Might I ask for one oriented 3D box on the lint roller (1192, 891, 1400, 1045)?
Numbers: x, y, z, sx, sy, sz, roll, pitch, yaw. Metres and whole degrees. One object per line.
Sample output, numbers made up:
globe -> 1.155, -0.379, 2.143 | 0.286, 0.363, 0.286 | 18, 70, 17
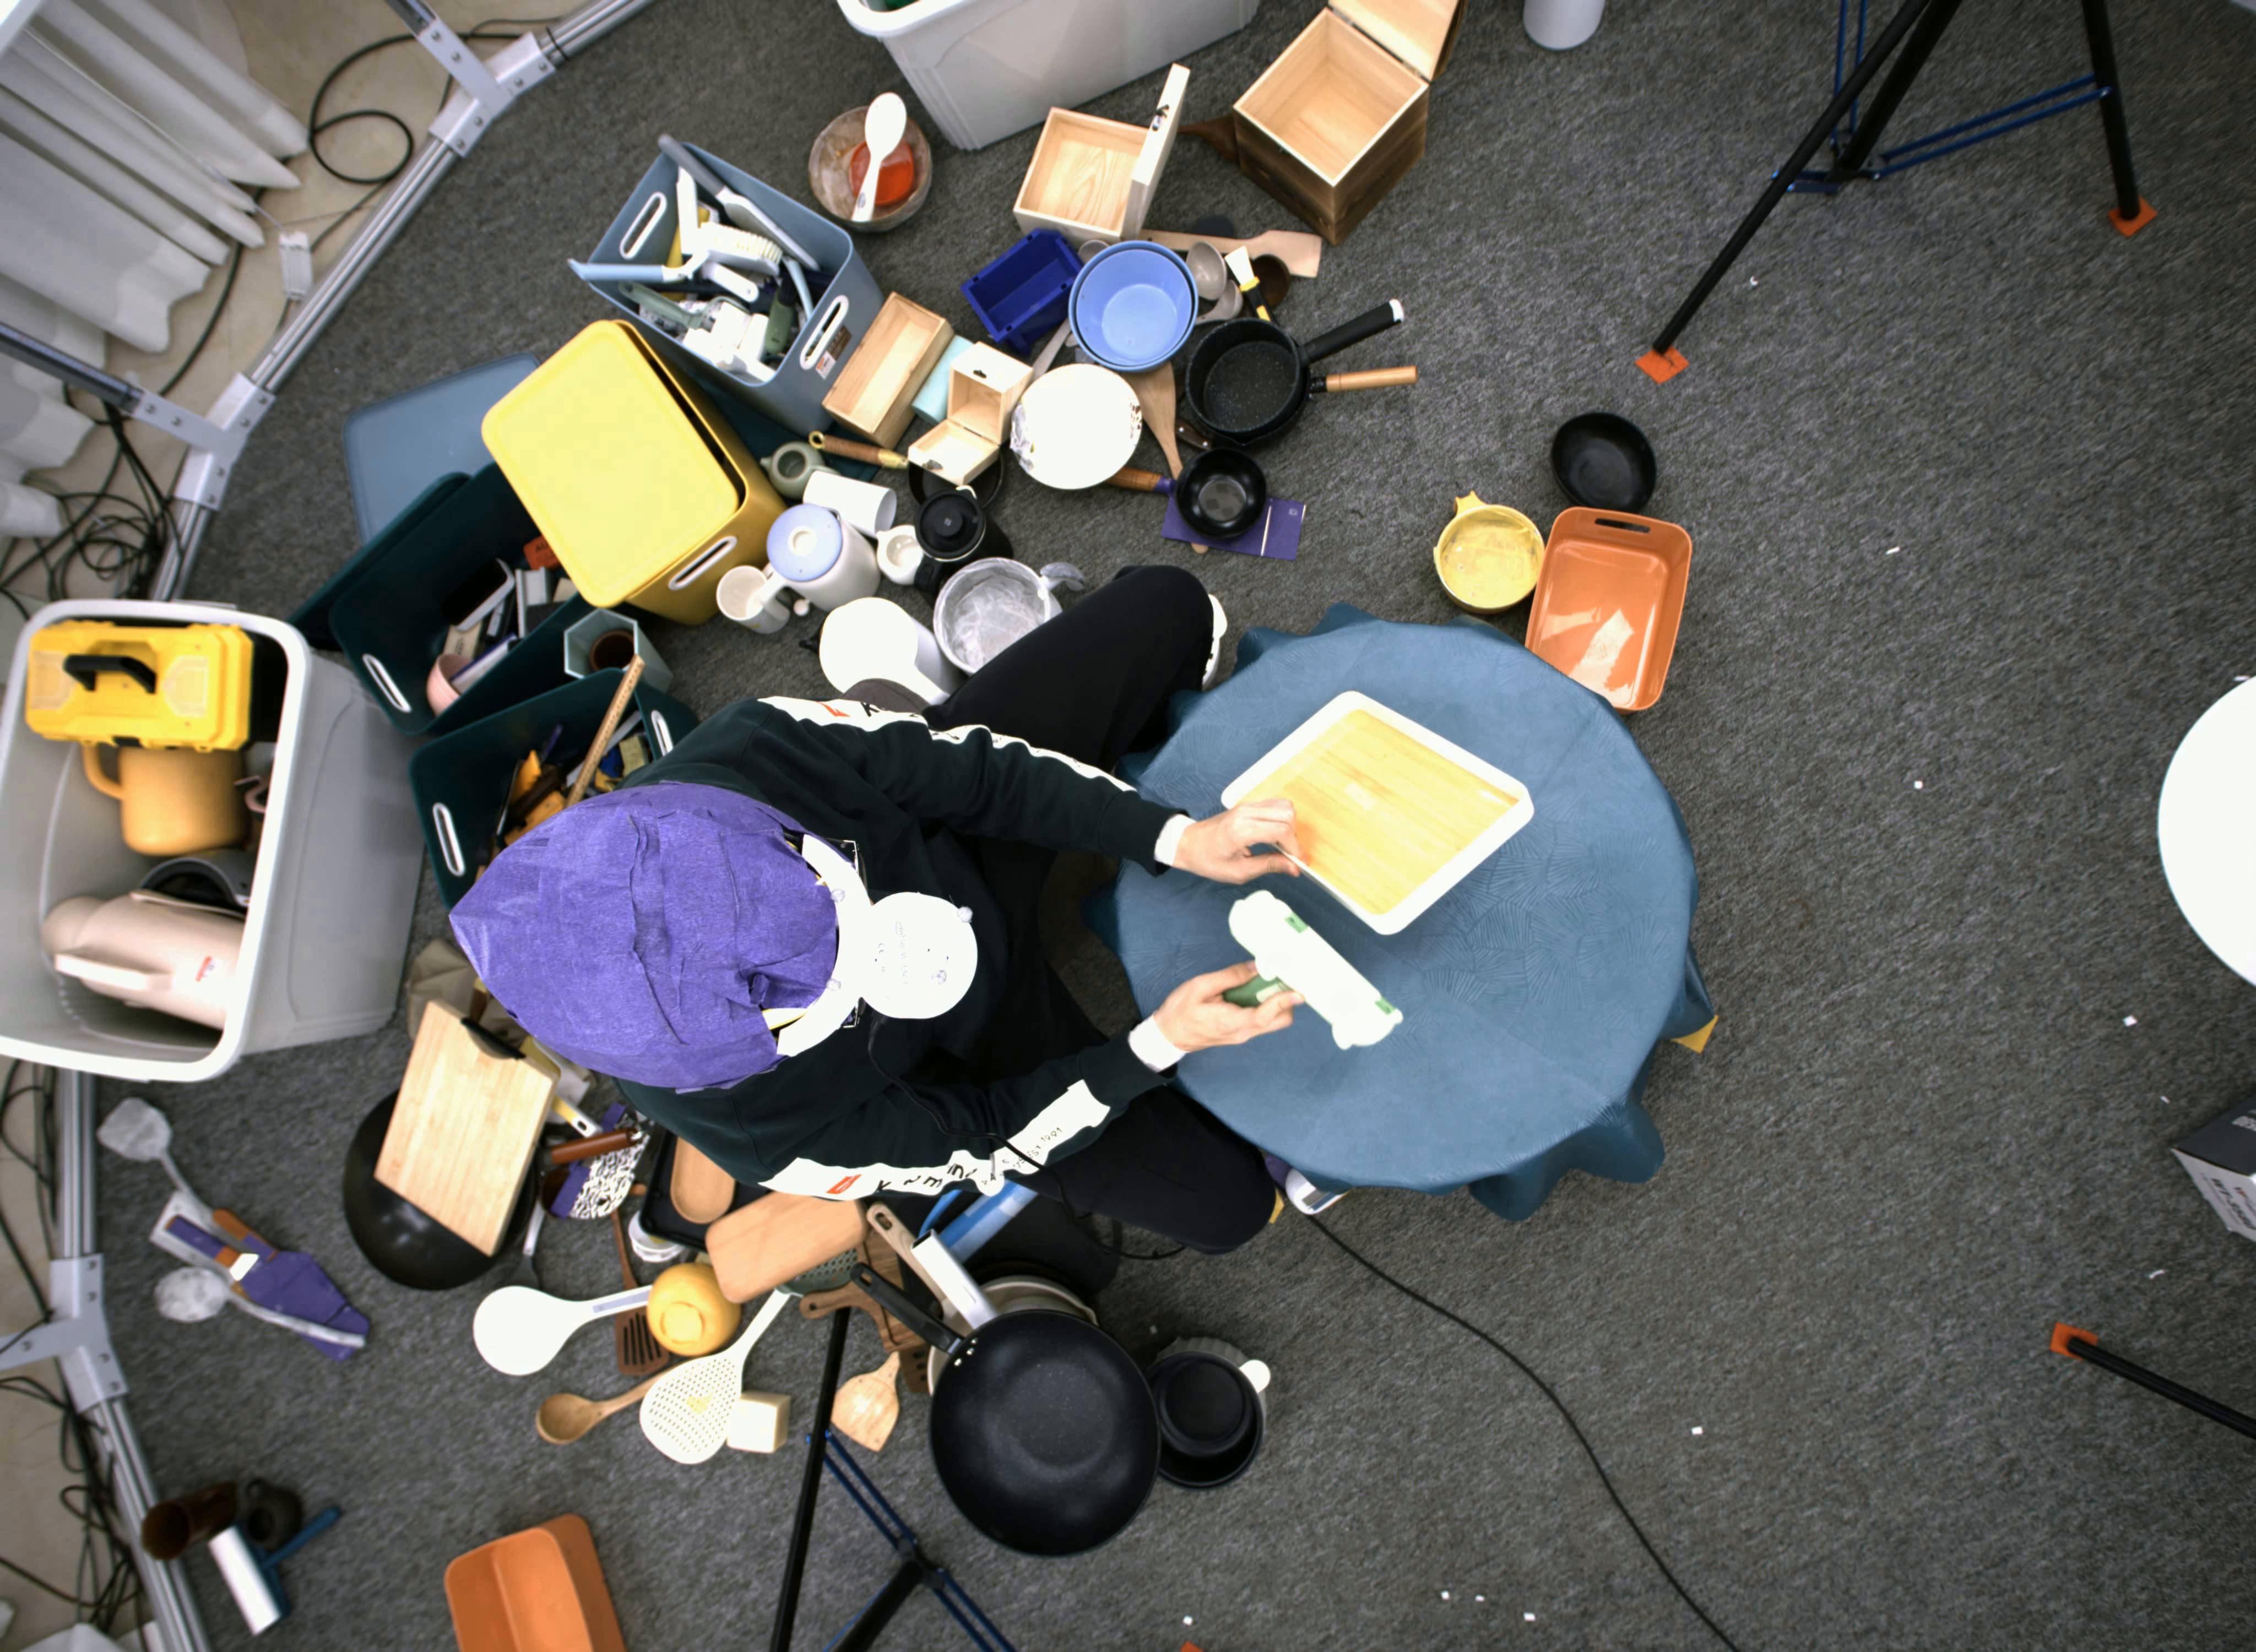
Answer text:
lint roller -> 0.132, 0.164, 1.325 | 0.186, 0.080, 0.200 | -33, 122, 29

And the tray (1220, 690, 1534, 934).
tray -> 0.232, -0.024, 1.343 | 0.191, 0.028, 0.296 | -41, 36, -5
